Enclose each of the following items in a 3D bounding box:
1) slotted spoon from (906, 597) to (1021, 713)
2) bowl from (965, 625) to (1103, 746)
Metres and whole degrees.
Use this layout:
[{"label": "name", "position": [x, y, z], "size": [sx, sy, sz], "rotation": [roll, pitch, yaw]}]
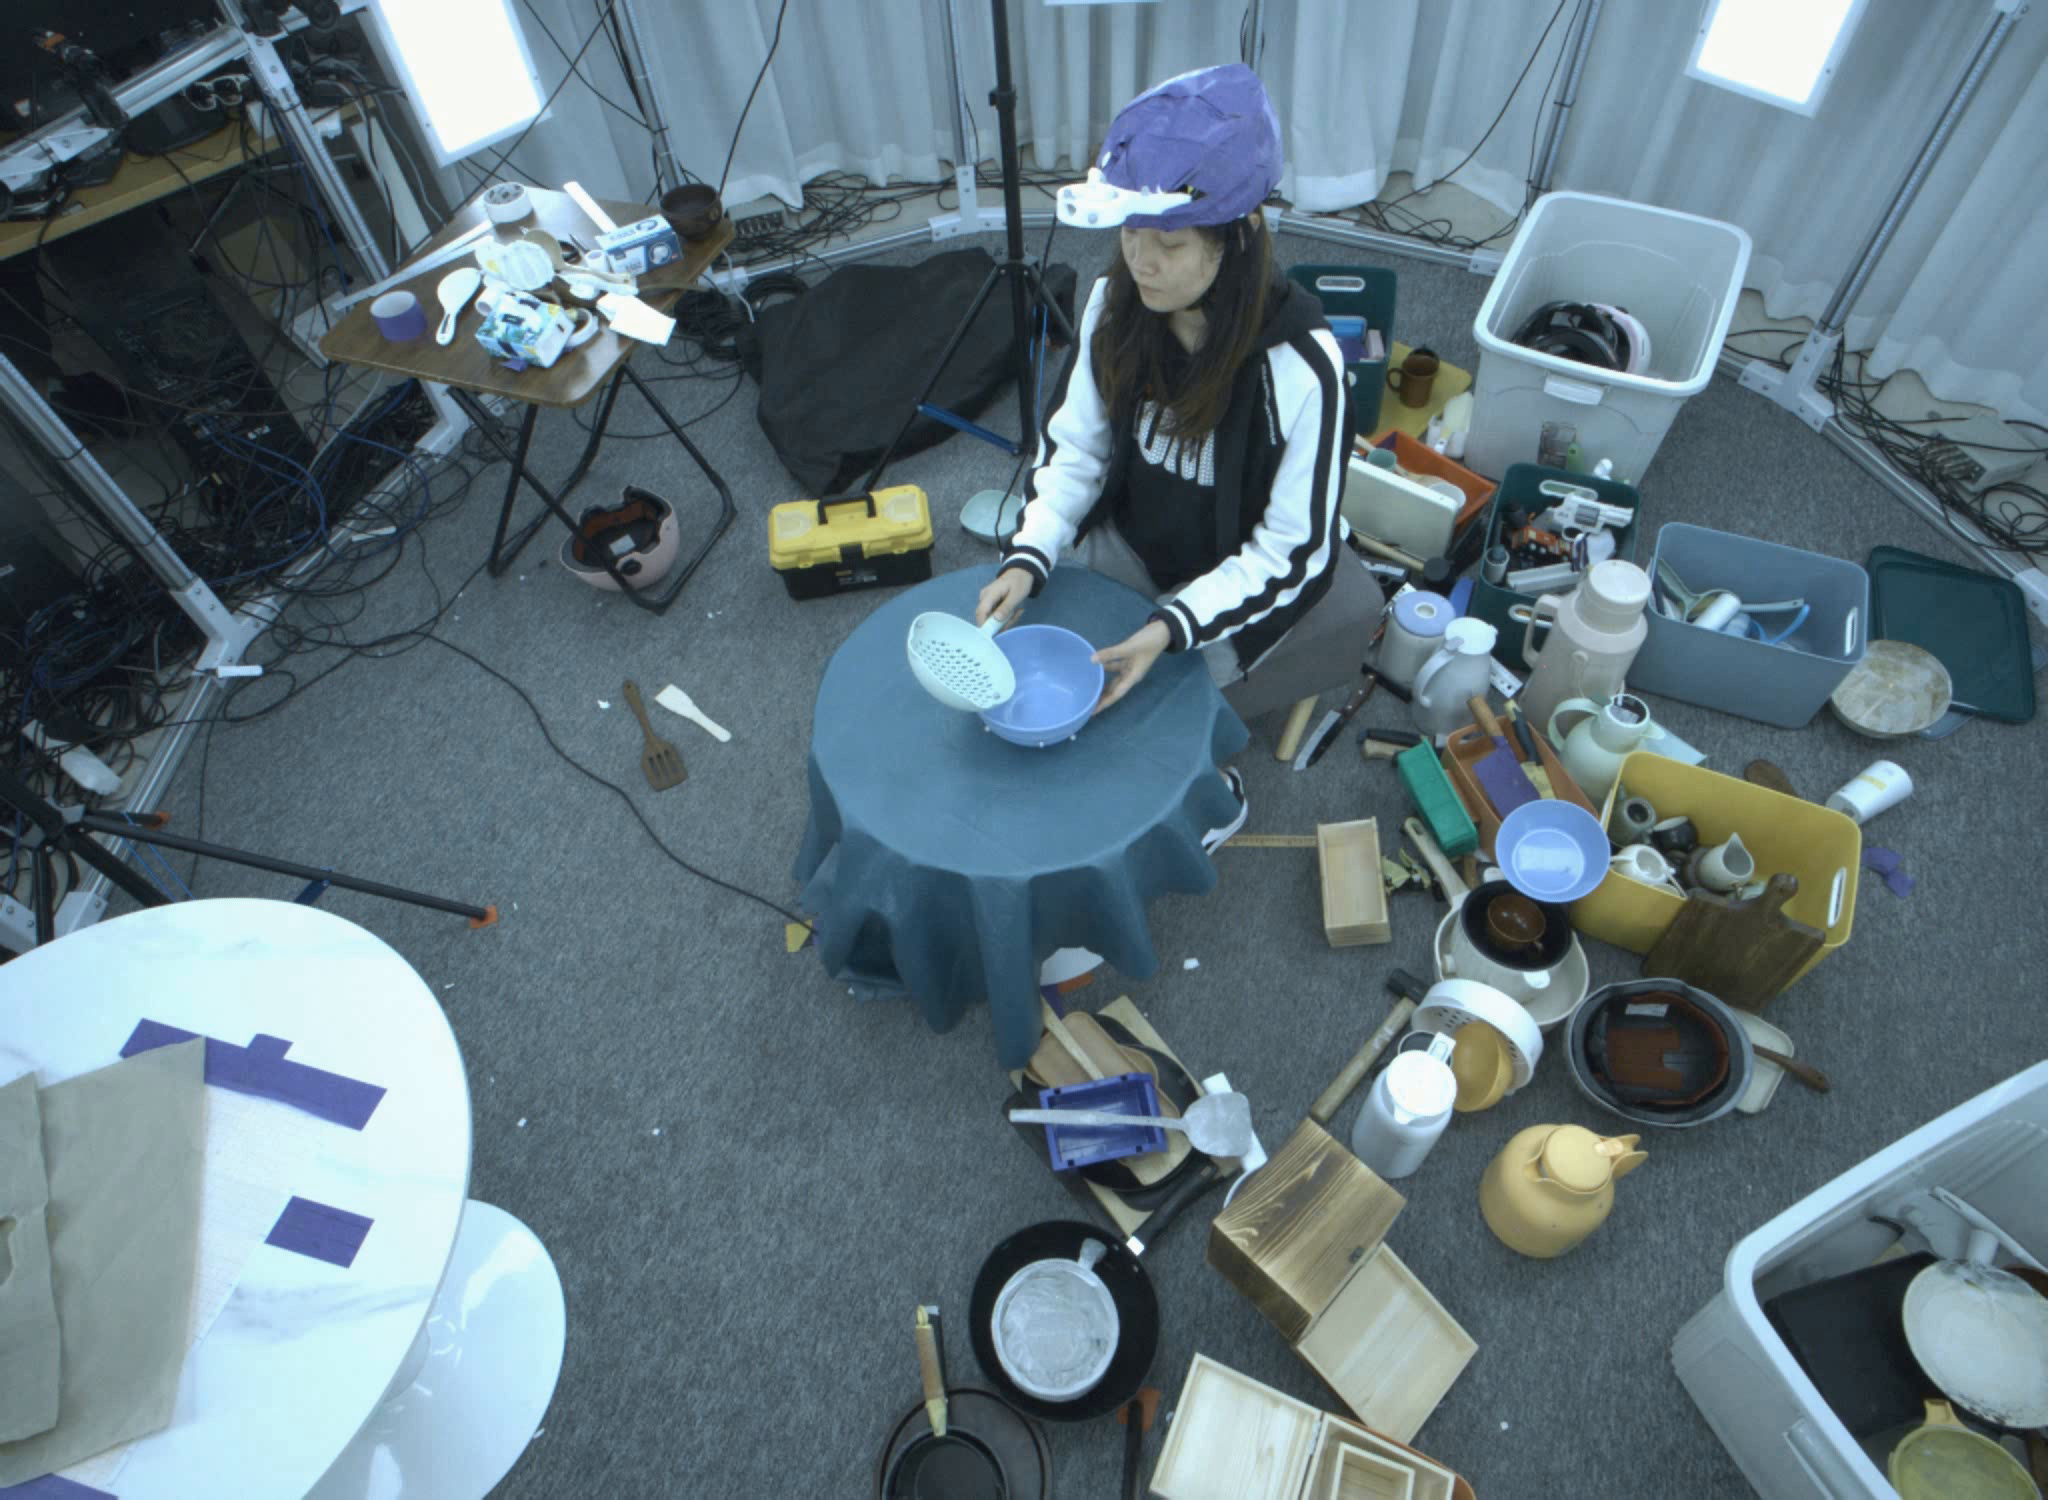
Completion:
[{"label": "slotted spoon", "position": [-0.062, -0.160, 1.774], "size": [0.170, 0.075, 0.360], "rotation": [40, 39, -4]}, {"label": "bowl", "position": [0.017, -0.078, 1.784], "size": [0.196, 0.096, 0.194], "rotation": [-1, 54, 2]}]
